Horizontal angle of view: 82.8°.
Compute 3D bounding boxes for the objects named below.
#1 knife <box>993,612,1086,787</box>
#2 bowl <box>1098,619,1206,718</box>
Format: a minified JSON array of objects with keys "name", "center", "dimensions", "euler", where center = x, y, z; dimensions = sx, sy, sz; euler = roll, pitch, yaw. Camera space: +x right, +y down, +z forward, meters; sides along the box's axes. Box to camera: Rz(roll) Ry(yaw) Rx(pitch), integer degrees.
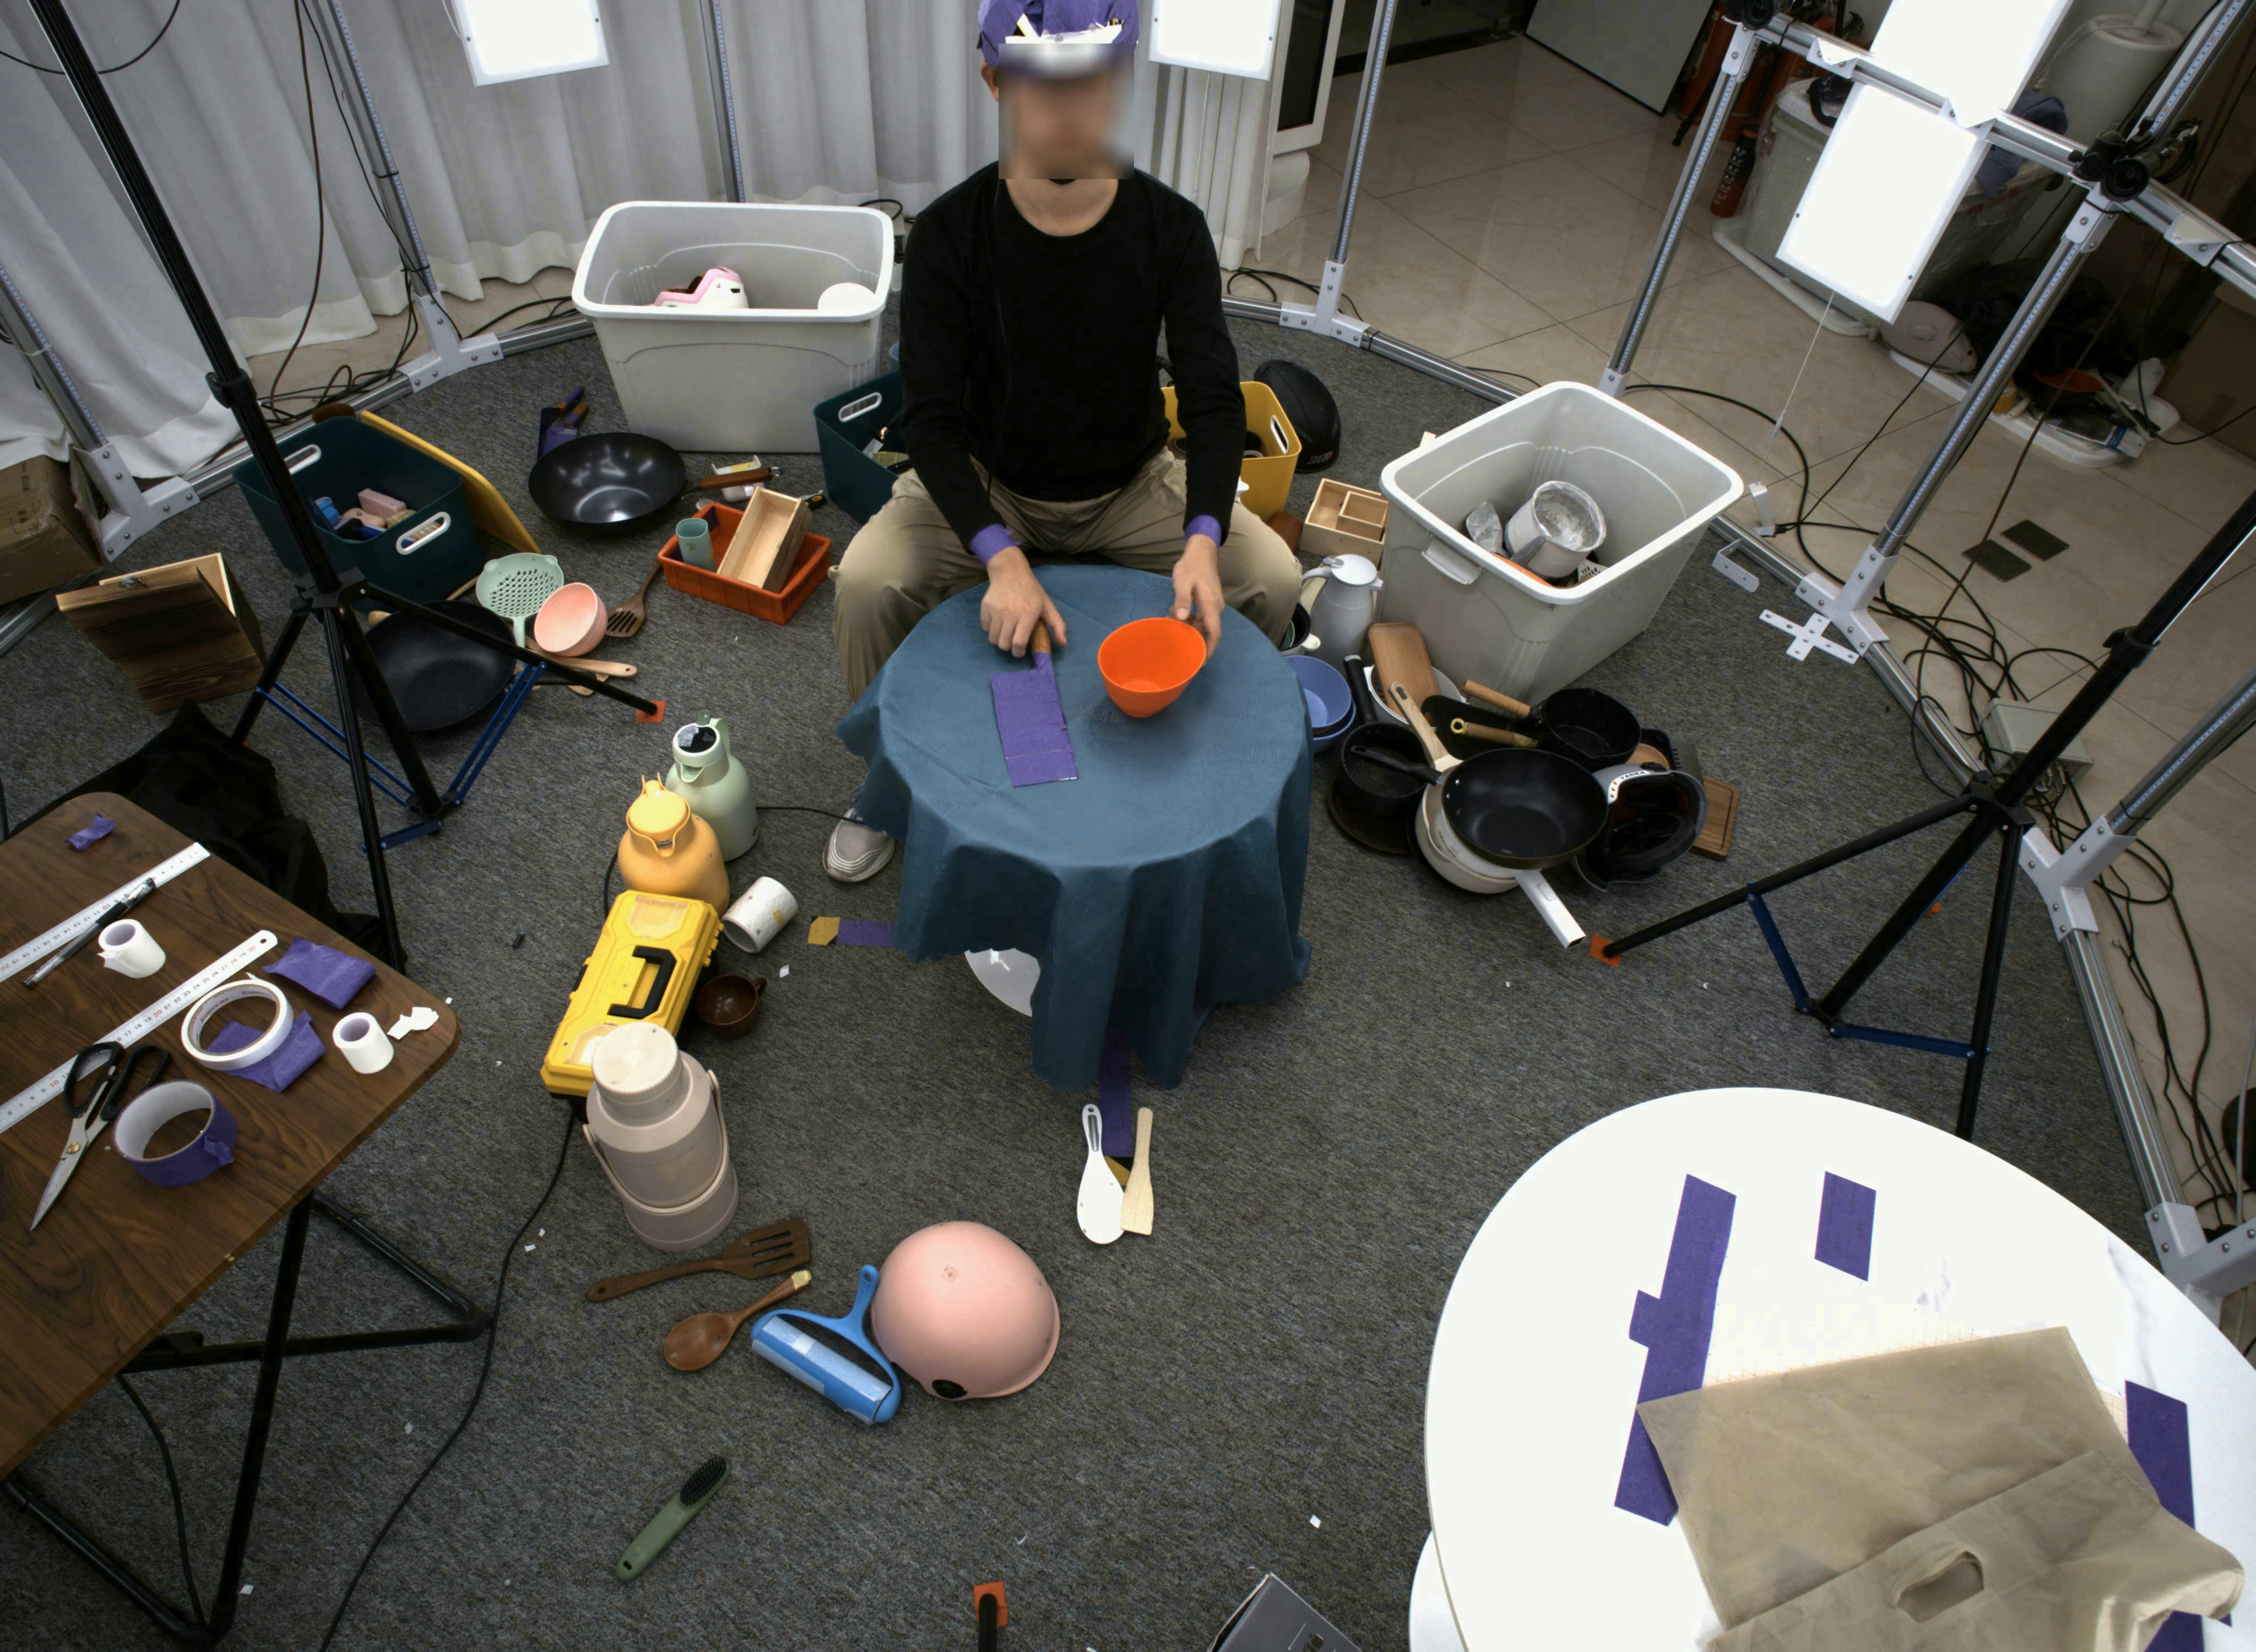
[{"name":"knife","center":[-0.138,-0.183,1.802],"dimensions":[0.104,0.031,0.323],"euler":[-7,51,-10]},{"name":"bowl","center":[0.031,-0.208,1.787],"dimensions":[0.148,0.102,0.152],"euler":[1,50,-2]}]
